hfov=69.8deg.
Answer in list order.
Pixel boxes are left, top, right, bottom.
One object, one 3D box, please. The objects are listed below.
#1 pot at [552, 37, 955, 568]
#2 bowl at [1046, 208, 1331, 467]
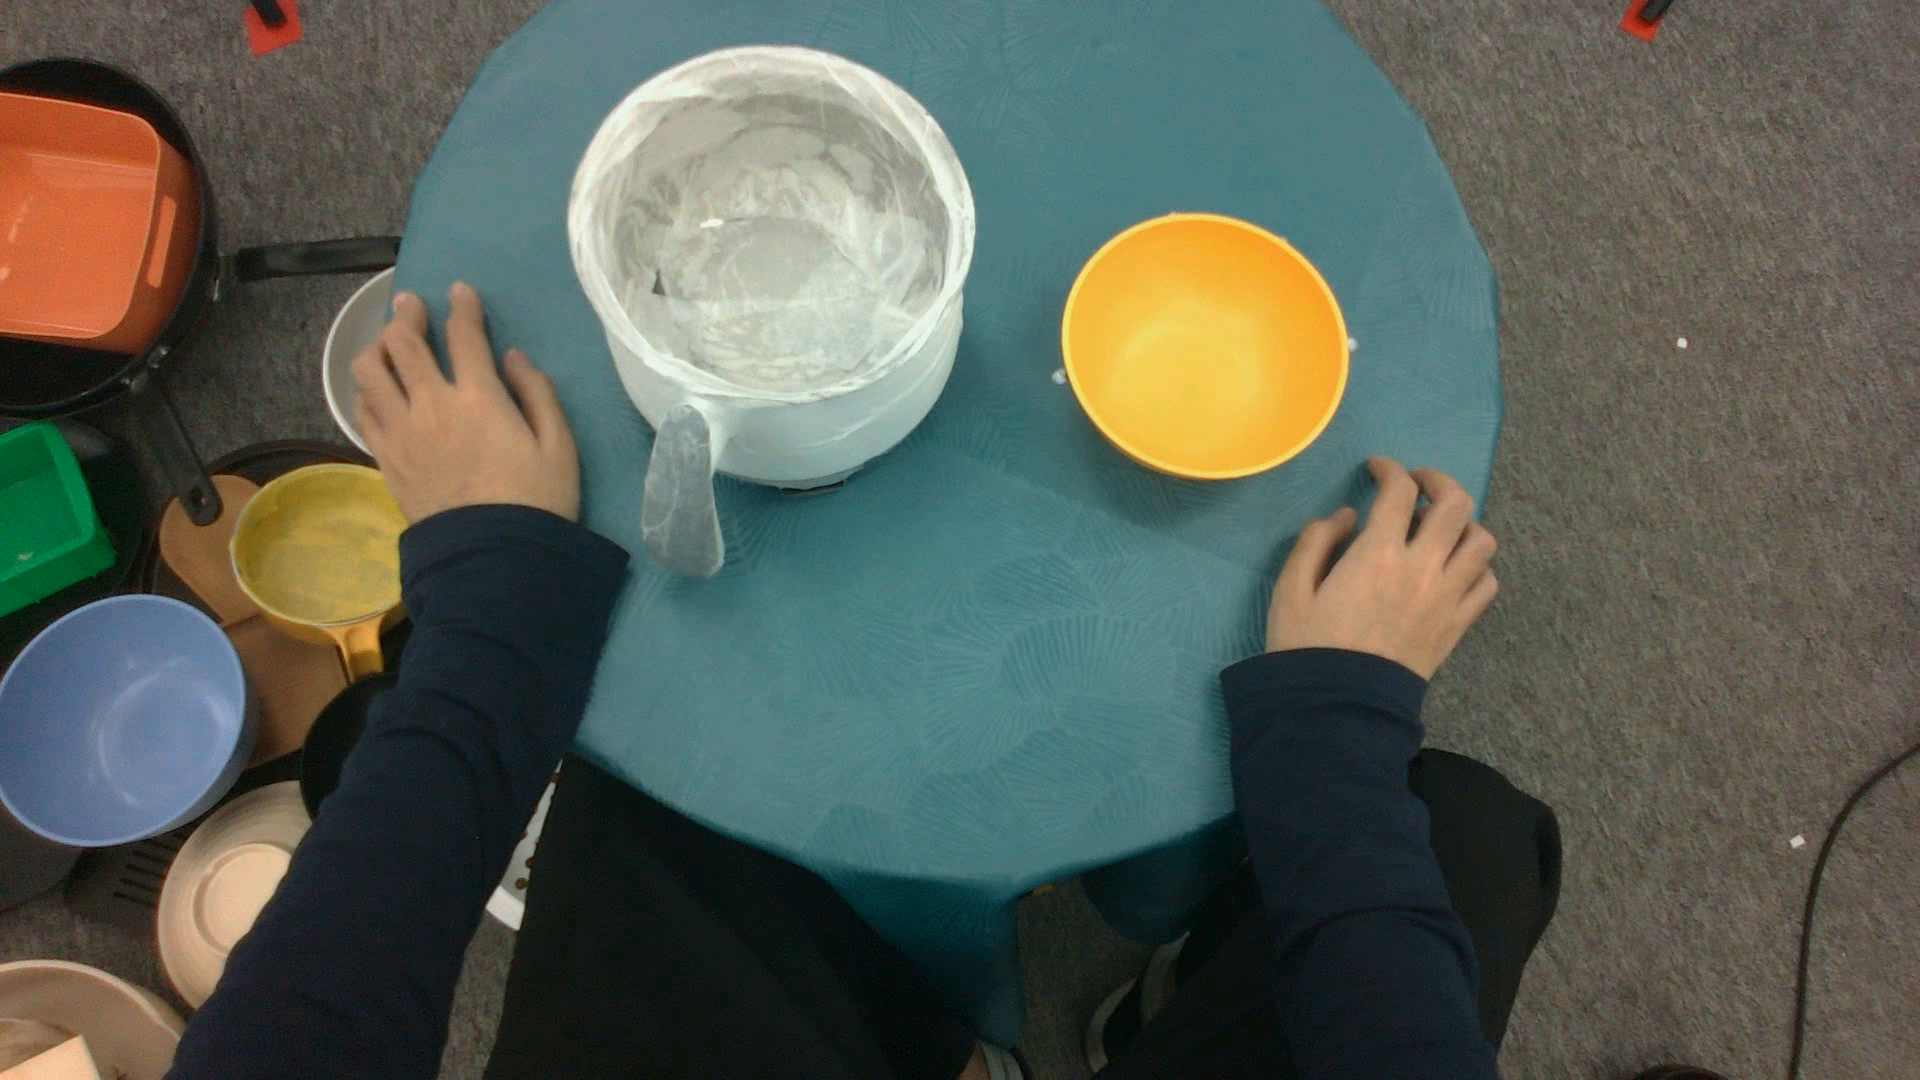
[{"bbox_3d":[-0.104,-0.104,0.662,0.179,0.136,0.234,19,74,1],"label":"pot"},{"bbox_3d":[0.113,-0.096,0.716,0.145,0.060,0.146,1,71,-4],"label":"bowl"}]
